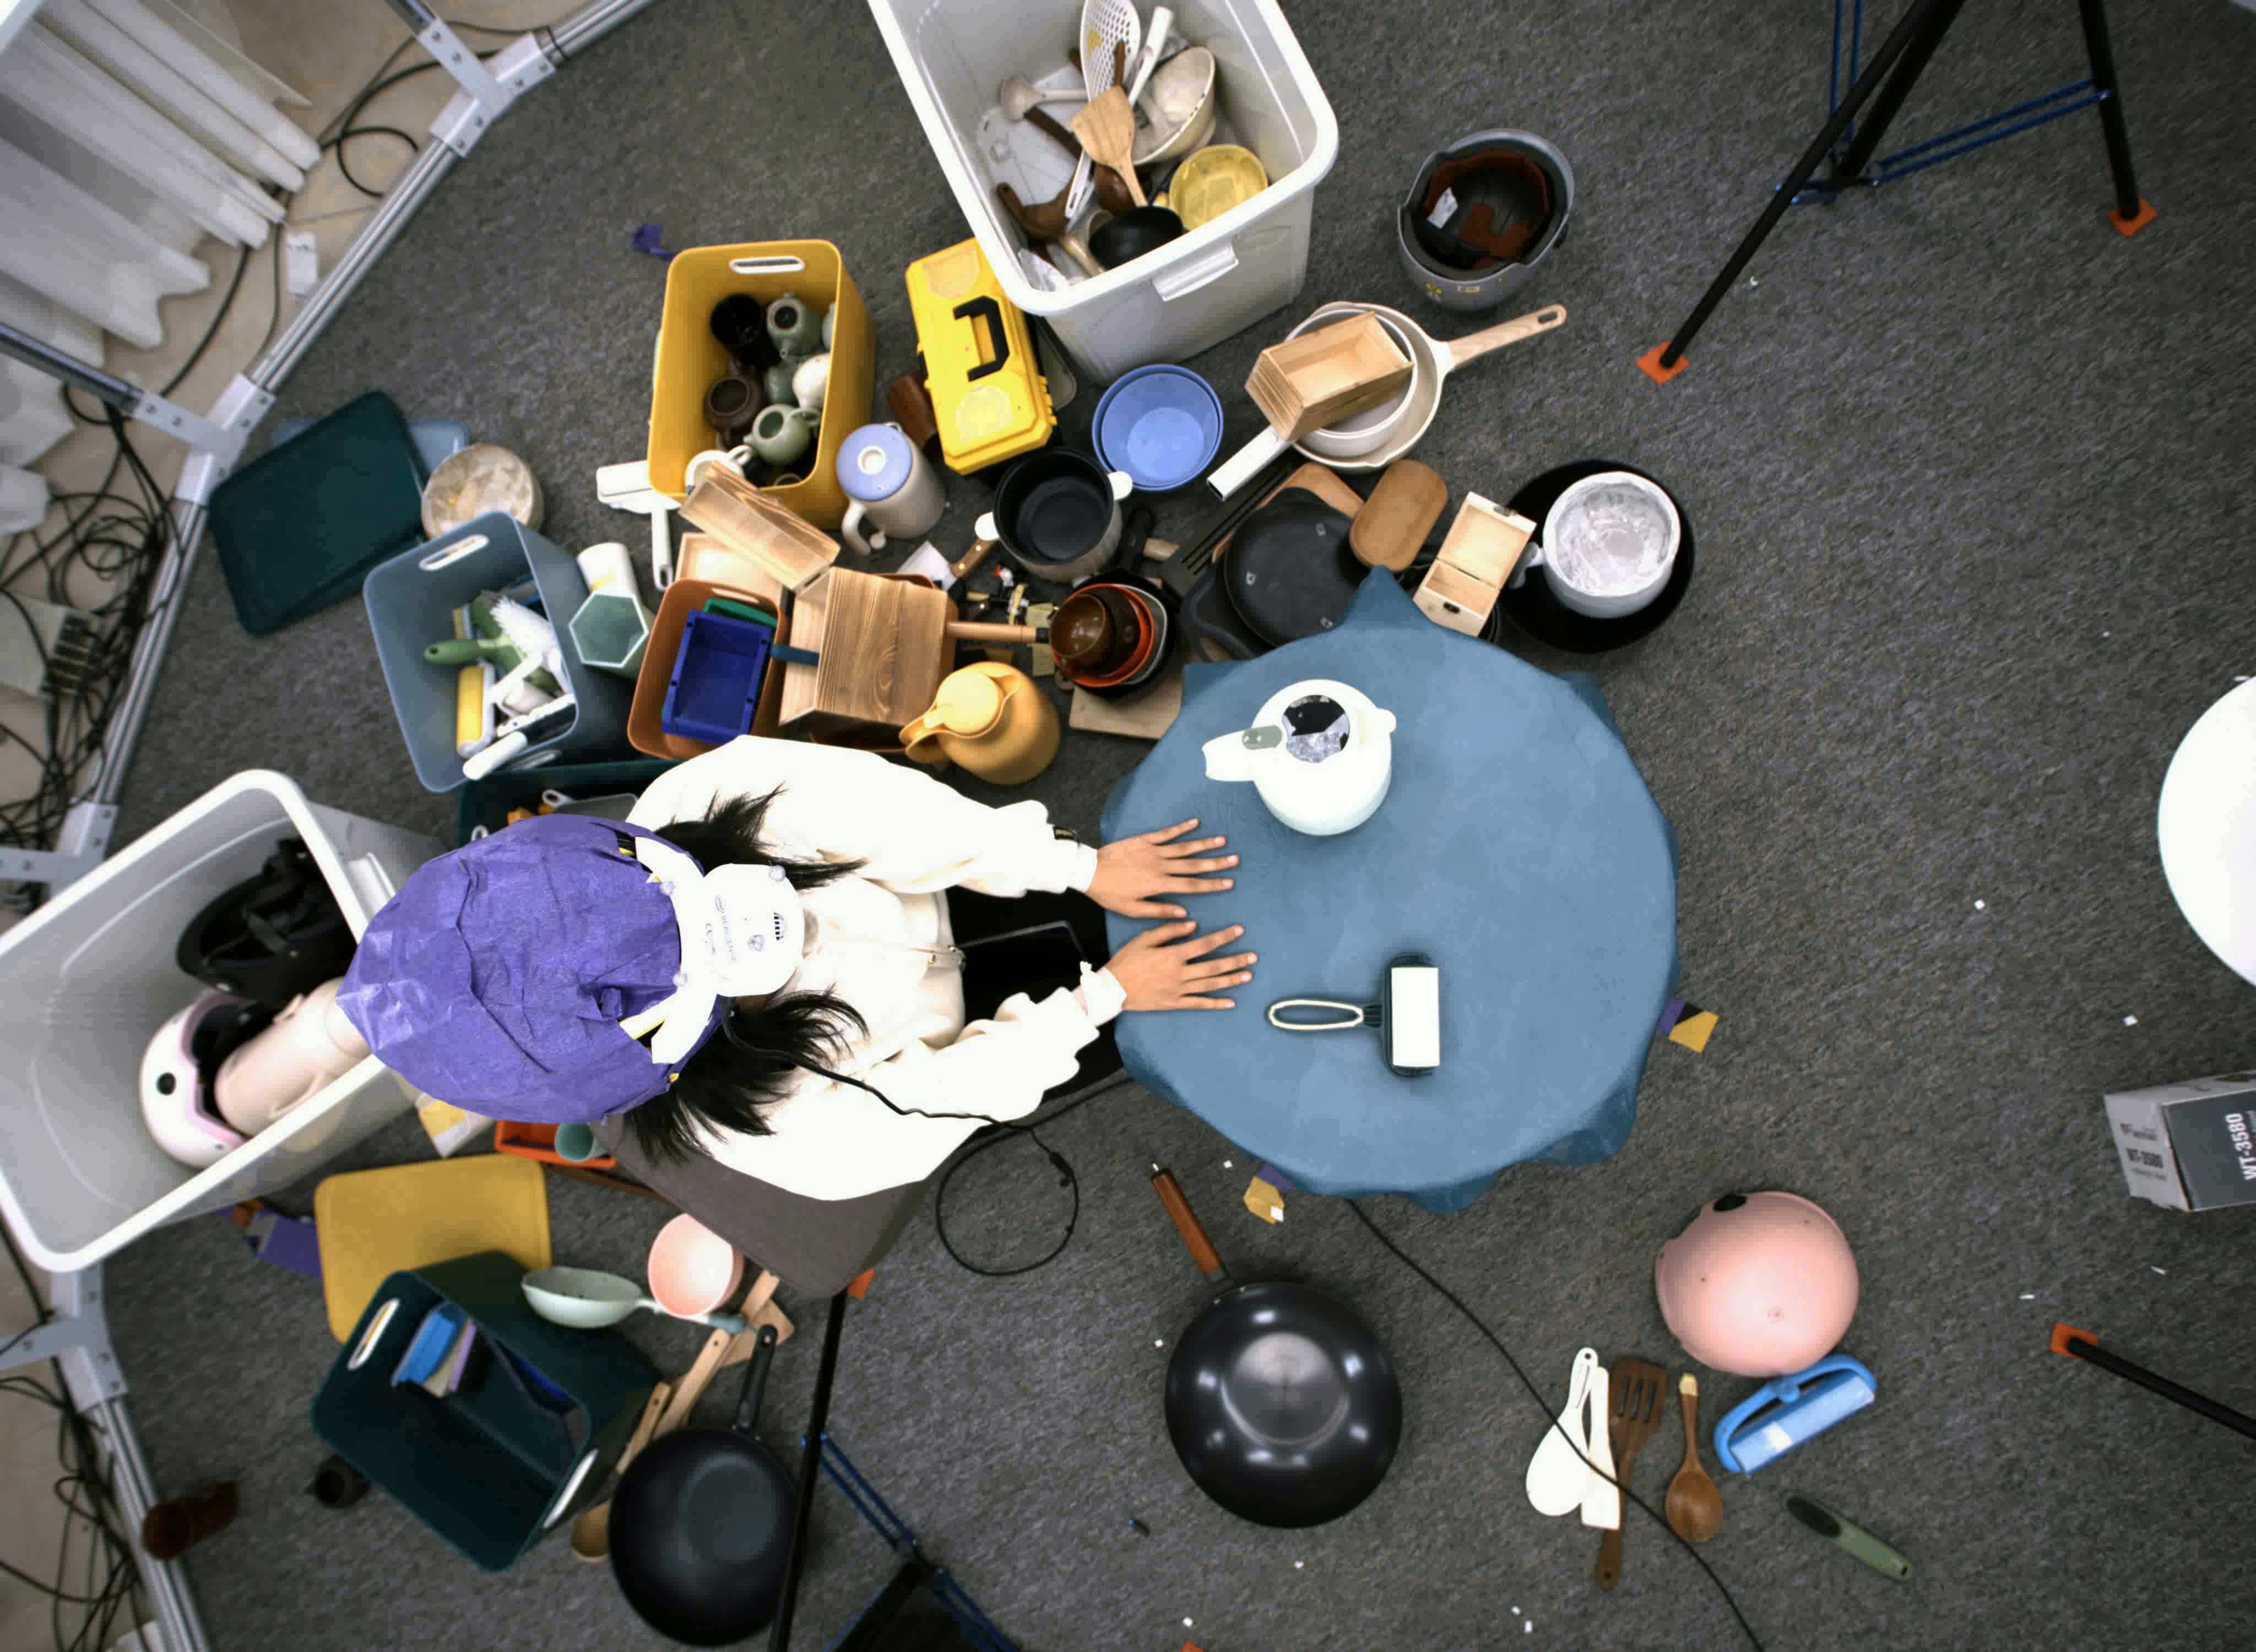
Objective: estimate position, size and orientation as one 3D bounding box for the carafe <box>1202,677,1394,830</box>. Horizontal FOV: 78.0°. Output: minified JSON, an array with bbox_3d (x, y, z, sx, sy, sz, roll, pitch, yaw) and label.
[{"bbox_3d":[0.174,-0.075,1.360,0.188,0.256,0.143,-8,85,13],"label":"carafe"}]

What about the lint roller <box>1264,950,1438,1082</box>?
[{"bbox_3d":[0.230,0.195,1.436,0.181,0.048,0.133,0,86,10],"label":"lint roller"}]
